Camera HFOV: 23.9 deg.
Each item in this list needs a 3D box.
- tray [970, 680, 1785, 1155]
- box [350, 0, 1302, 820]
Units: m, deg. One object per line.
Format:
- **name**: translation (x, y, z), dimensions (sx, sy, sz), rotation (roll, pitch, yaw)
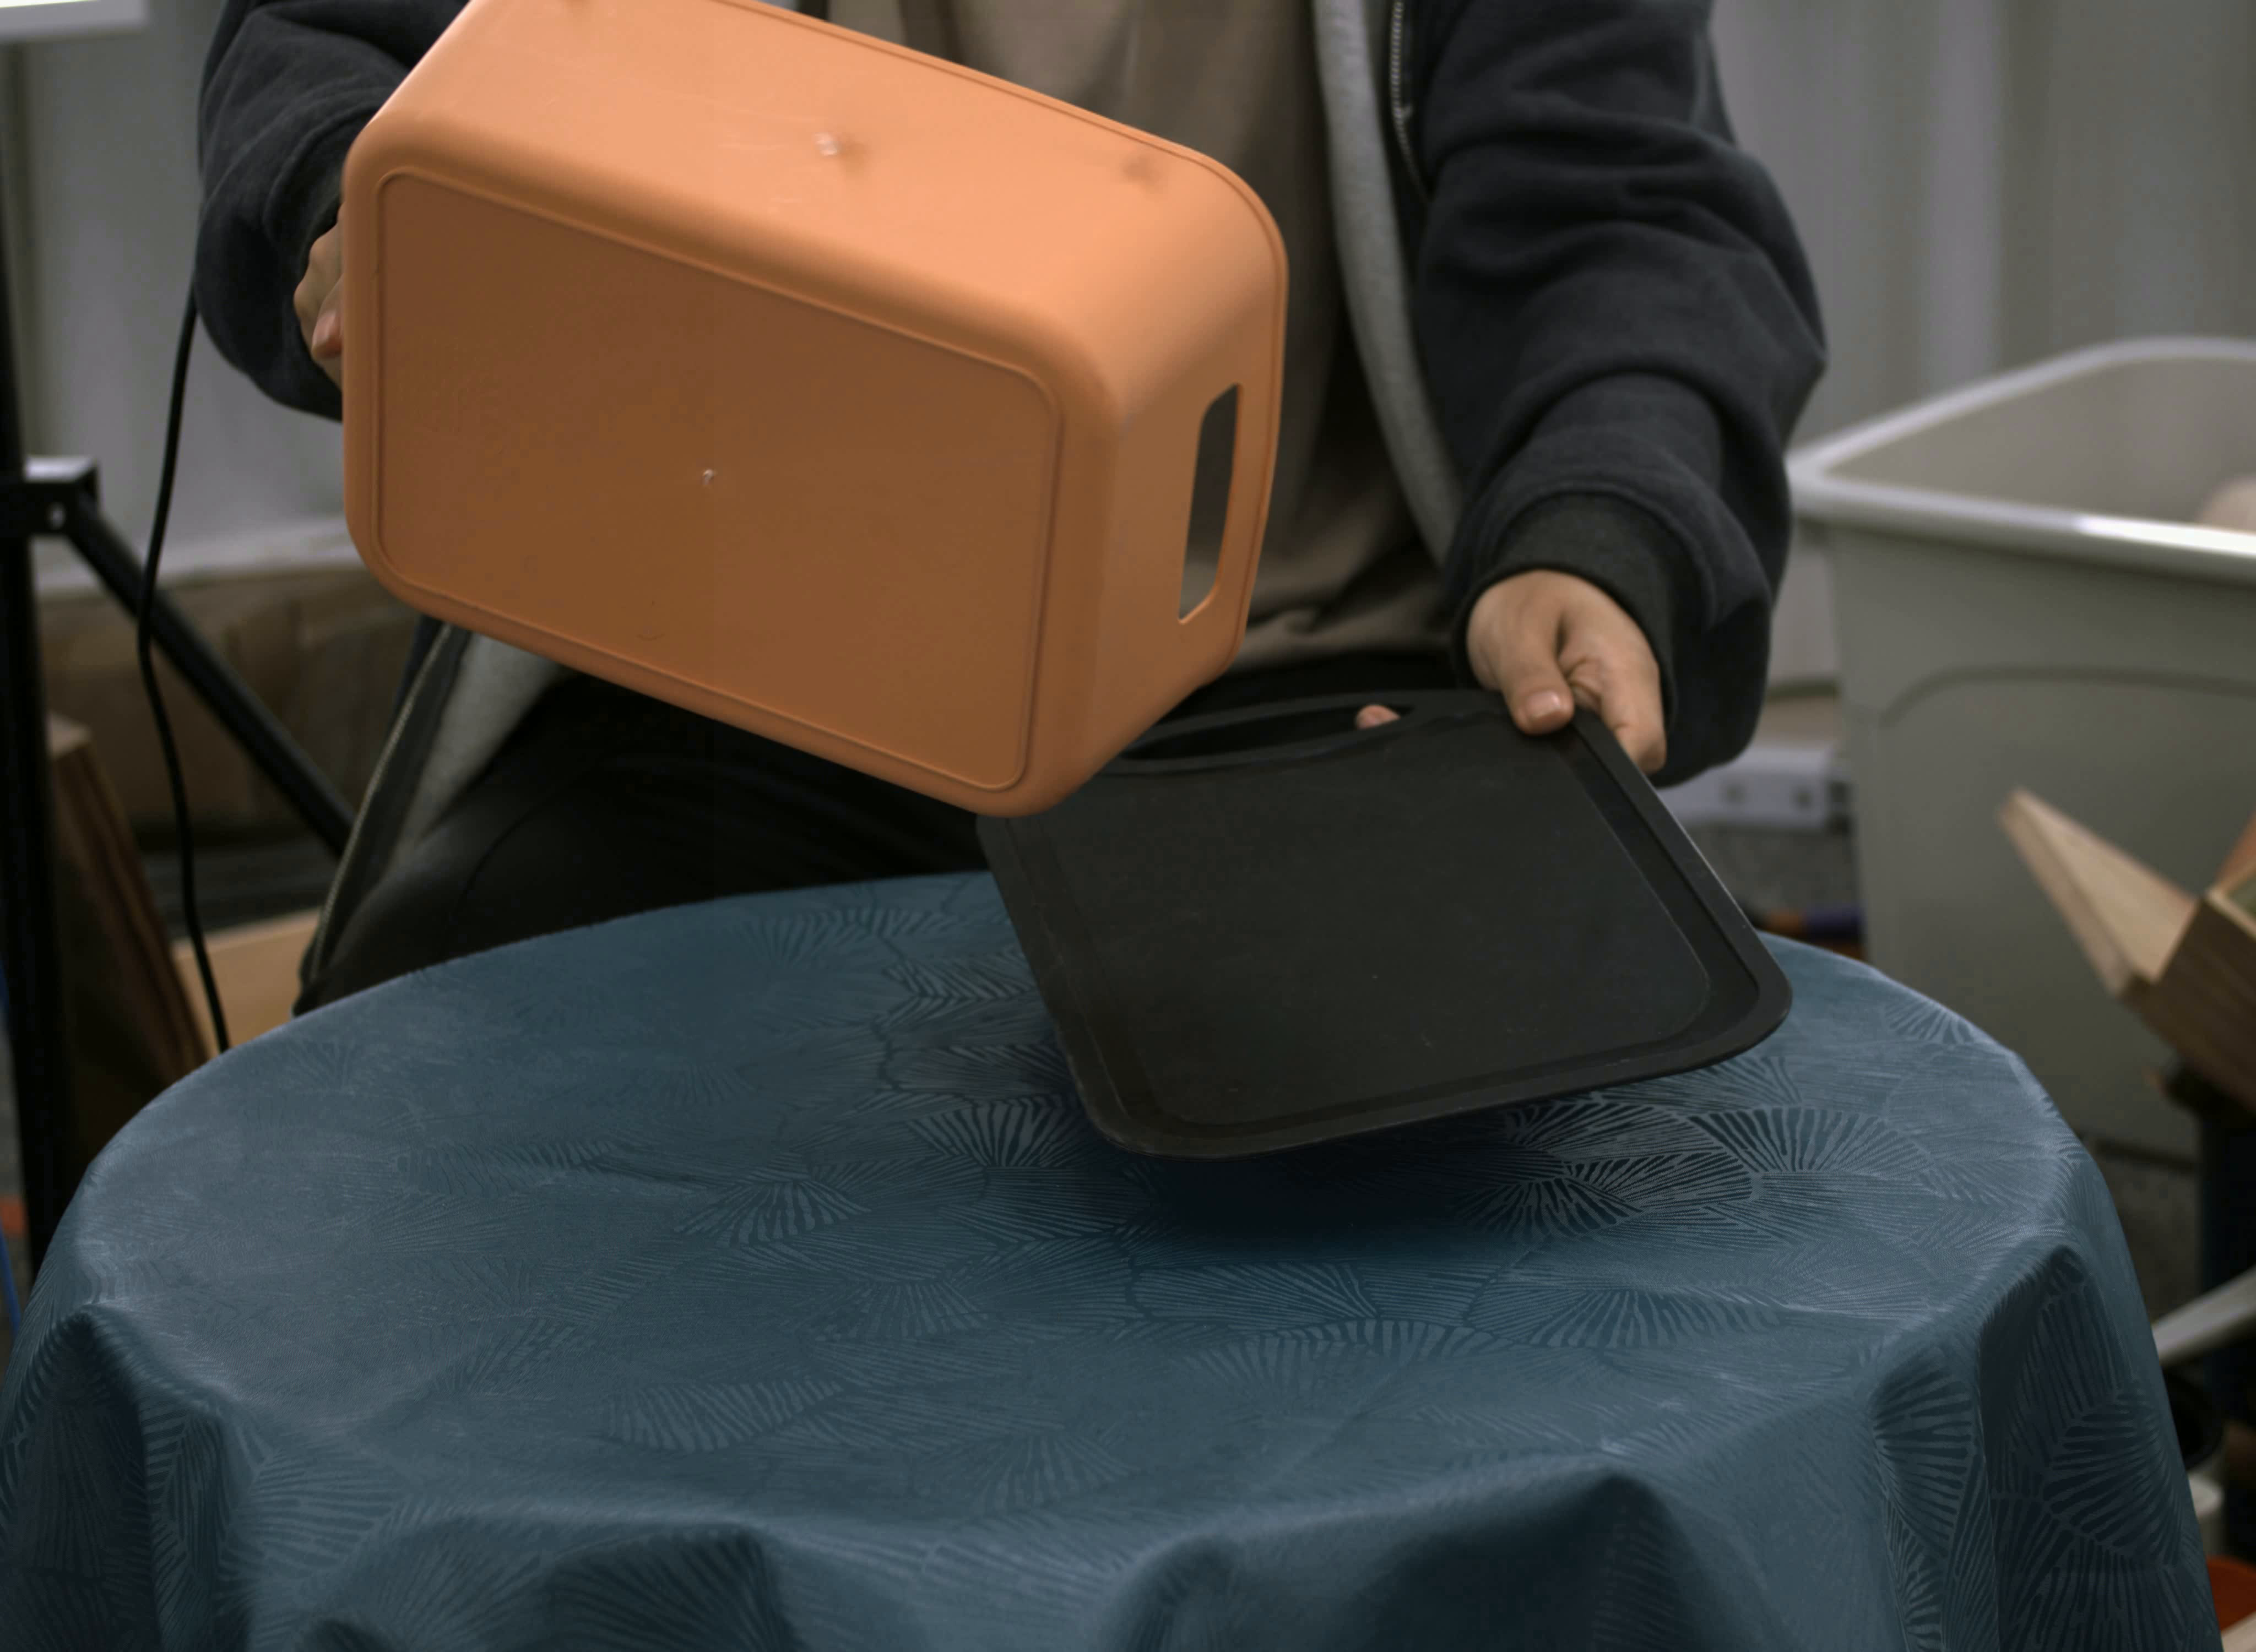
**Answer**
- **tray**: translation (0.067, 0.019, 1.645), dimensions (0.209, 0.010, 0.329), rotation (-11, 24, -6)
- **box**: translation (-0.099, -0.125, 1.561), dimensions (0.276, 0.199, 0.101), rotation (21, 38, 18)
